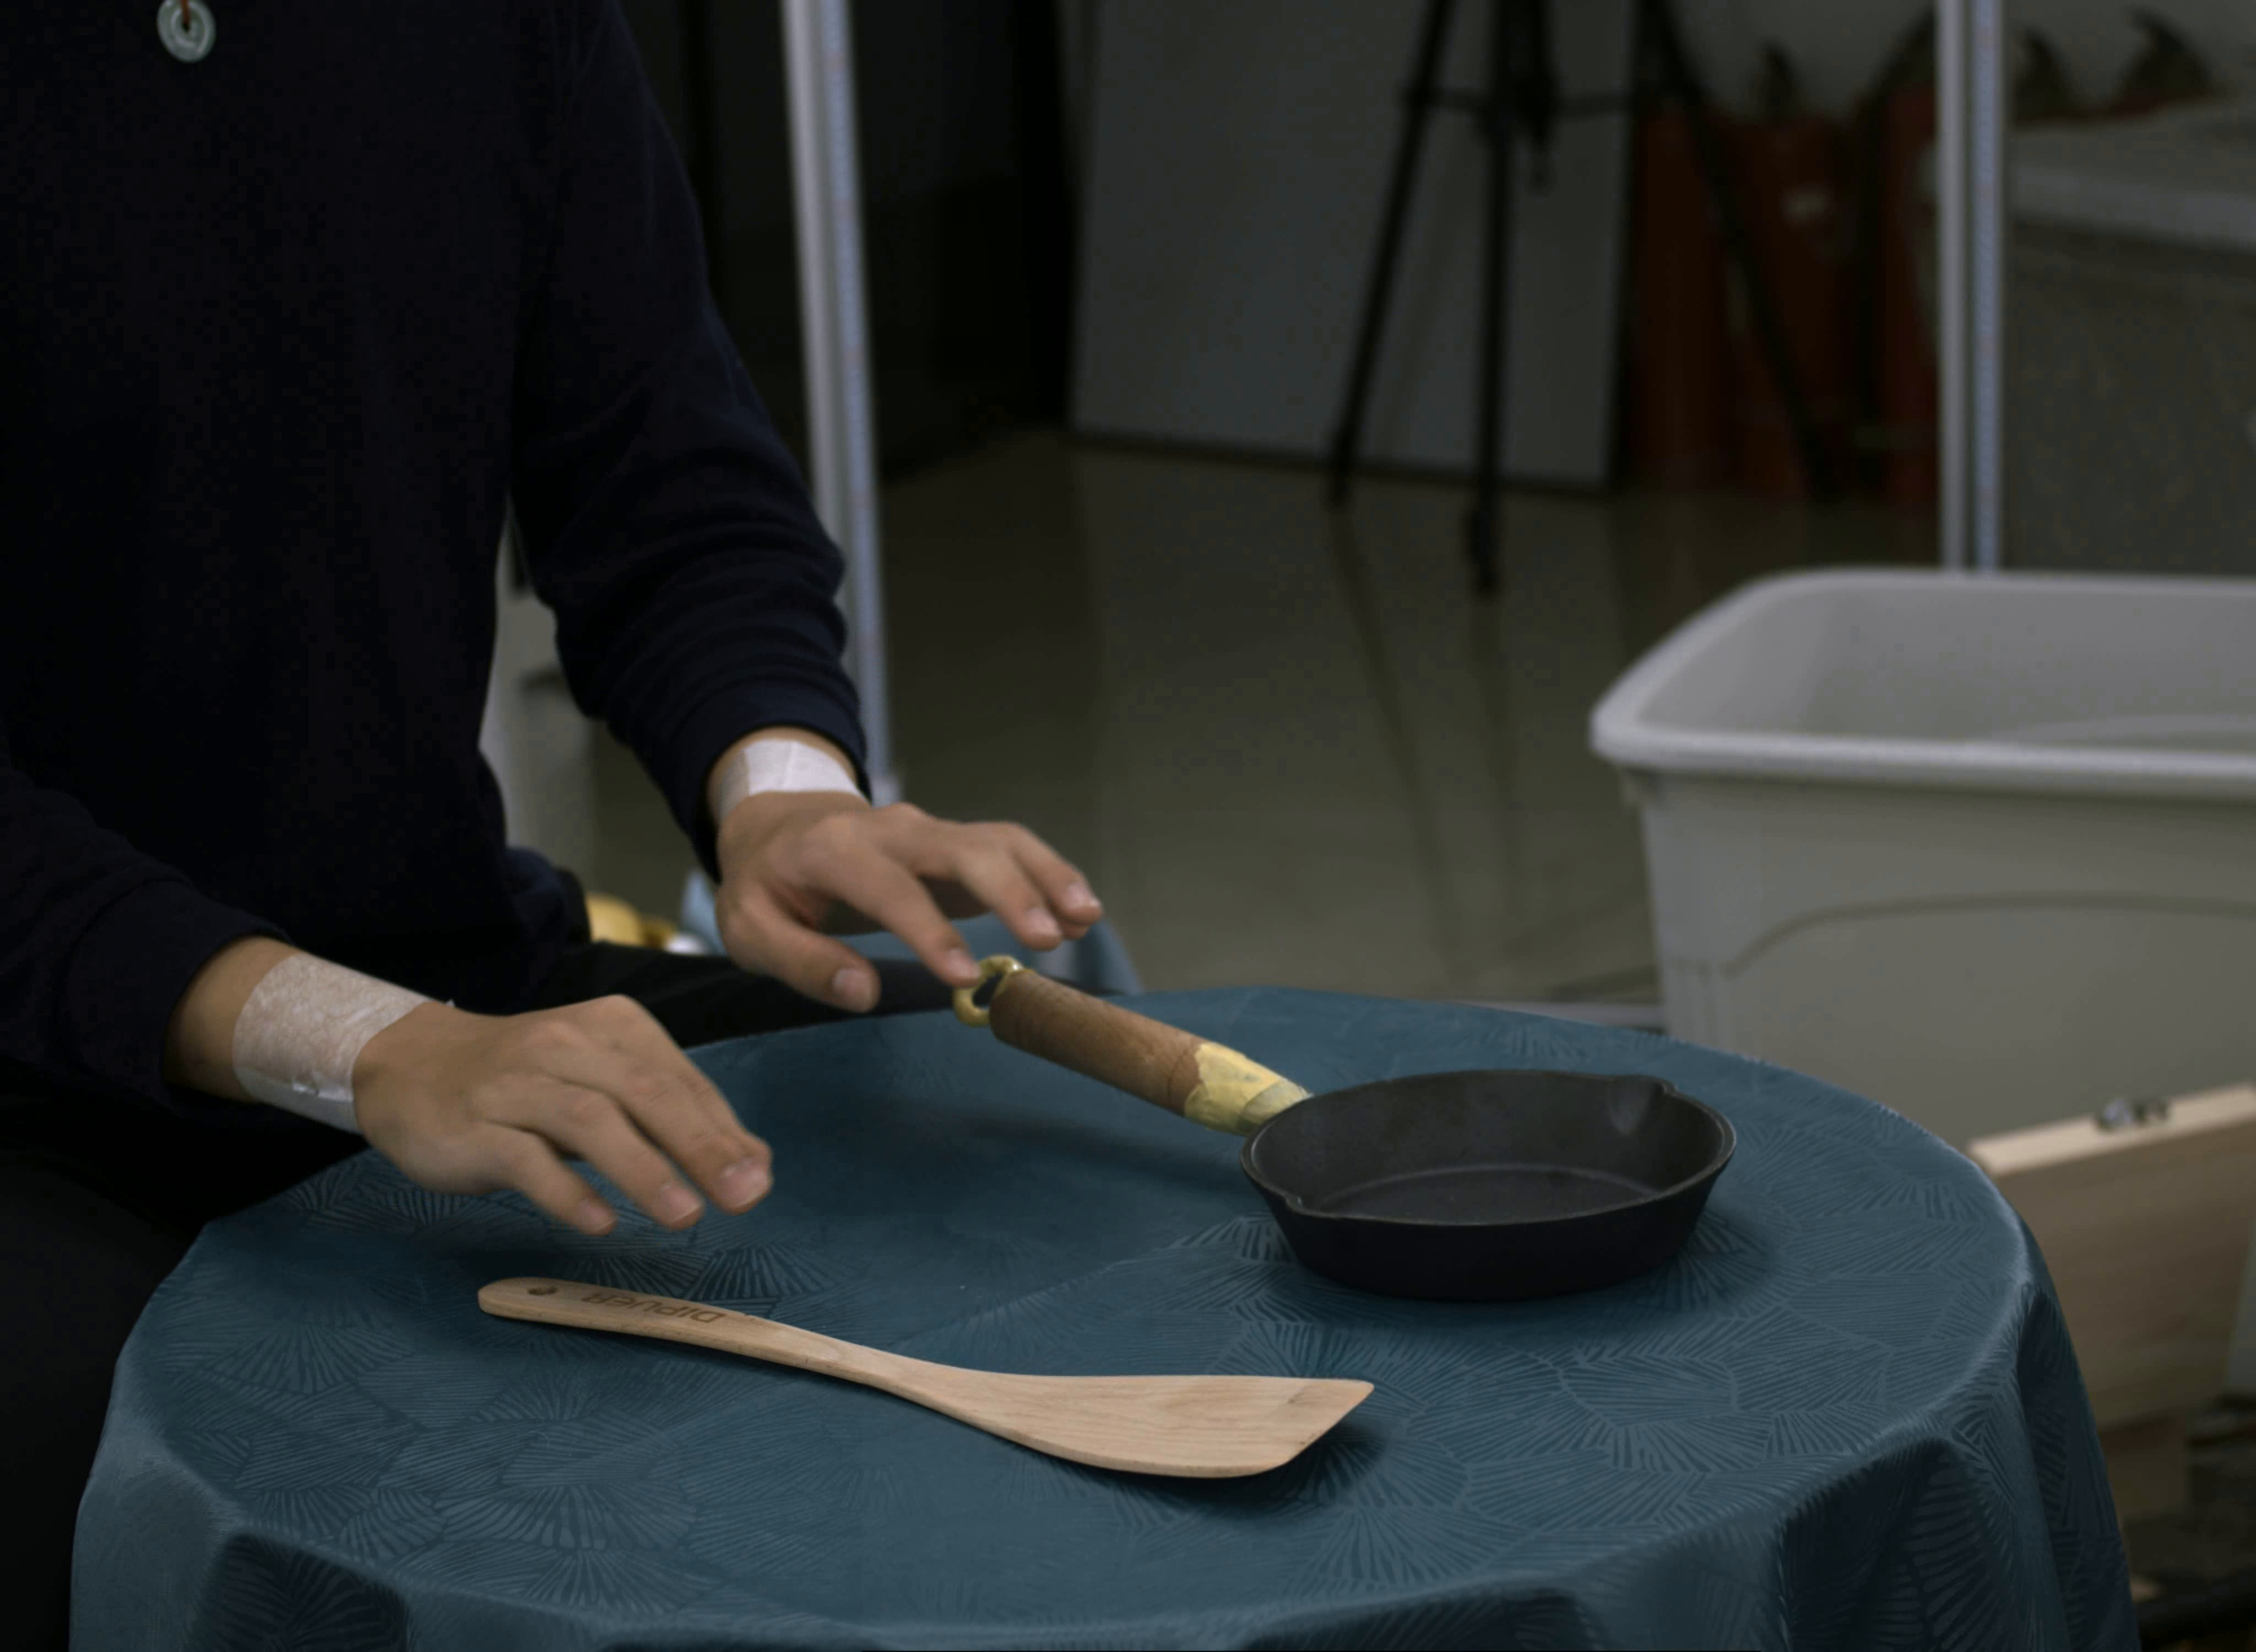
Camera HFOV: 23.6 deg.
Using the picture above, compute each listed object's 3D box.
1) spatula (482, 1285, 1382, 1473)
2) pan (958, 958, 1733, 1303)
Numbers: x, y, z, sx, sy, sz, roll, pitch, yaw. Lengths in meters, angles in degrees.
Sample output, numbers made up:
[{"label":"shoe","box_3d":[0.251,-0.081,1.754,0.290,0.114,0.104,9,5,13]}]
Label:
[{"label":"spatula","box_3d":[-0.067,0.159,1.603,0.330,0.017,0.078,6,16,36]},{"label":"pan","box_3d":[0.057,0.094,1.756,0.165,0.050,0.327,-15,19,-39]}]
